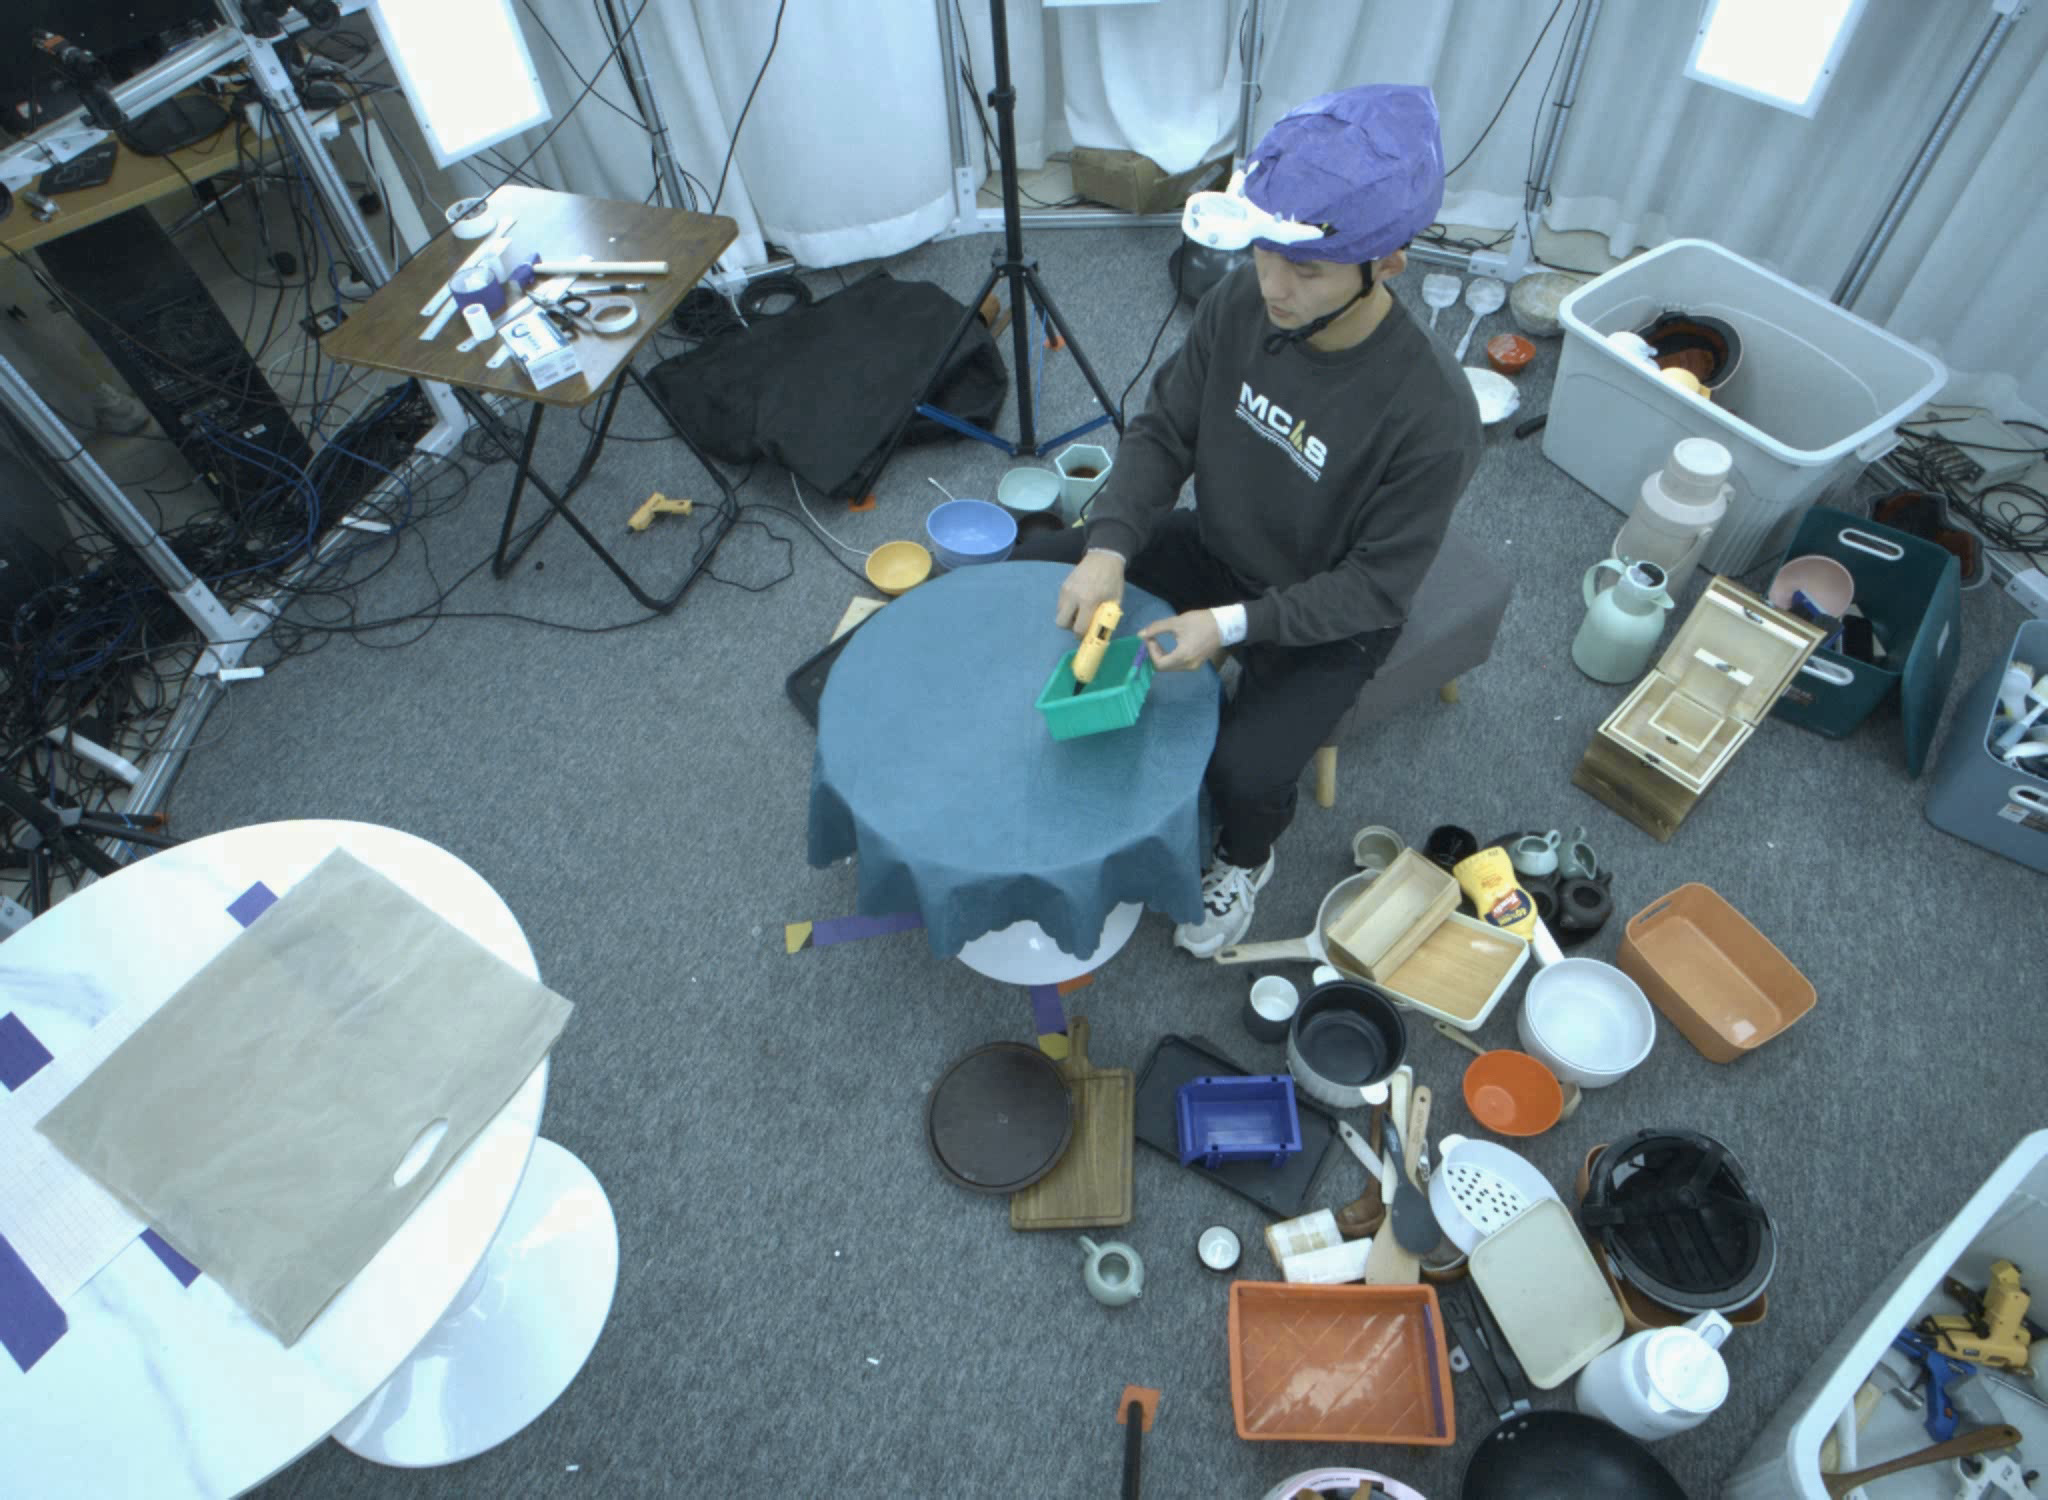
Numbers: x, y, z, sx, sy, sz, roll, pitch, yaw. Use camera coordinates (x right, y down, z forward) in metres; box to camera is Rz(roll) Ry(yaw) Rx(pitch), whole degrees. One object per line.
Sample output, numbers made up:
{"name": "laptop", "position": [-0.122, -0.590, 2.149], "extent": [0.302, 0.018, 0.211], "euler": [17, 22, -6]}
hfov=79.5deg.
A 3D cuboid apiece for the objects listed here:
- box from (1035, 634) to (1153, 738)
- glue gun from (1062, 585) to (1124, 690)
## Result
{"name": "box", "position": [0.107, -0.091, 1.746], "extent": [0.137, 0.066, 0.210], "euler": [-10, 22, 19]}
{"name": "glue gun", "position": [0.081, -0.157, 1.816], "extent": [0.032, 0.151, 0.130], "euler": [12, 15, -35]}
